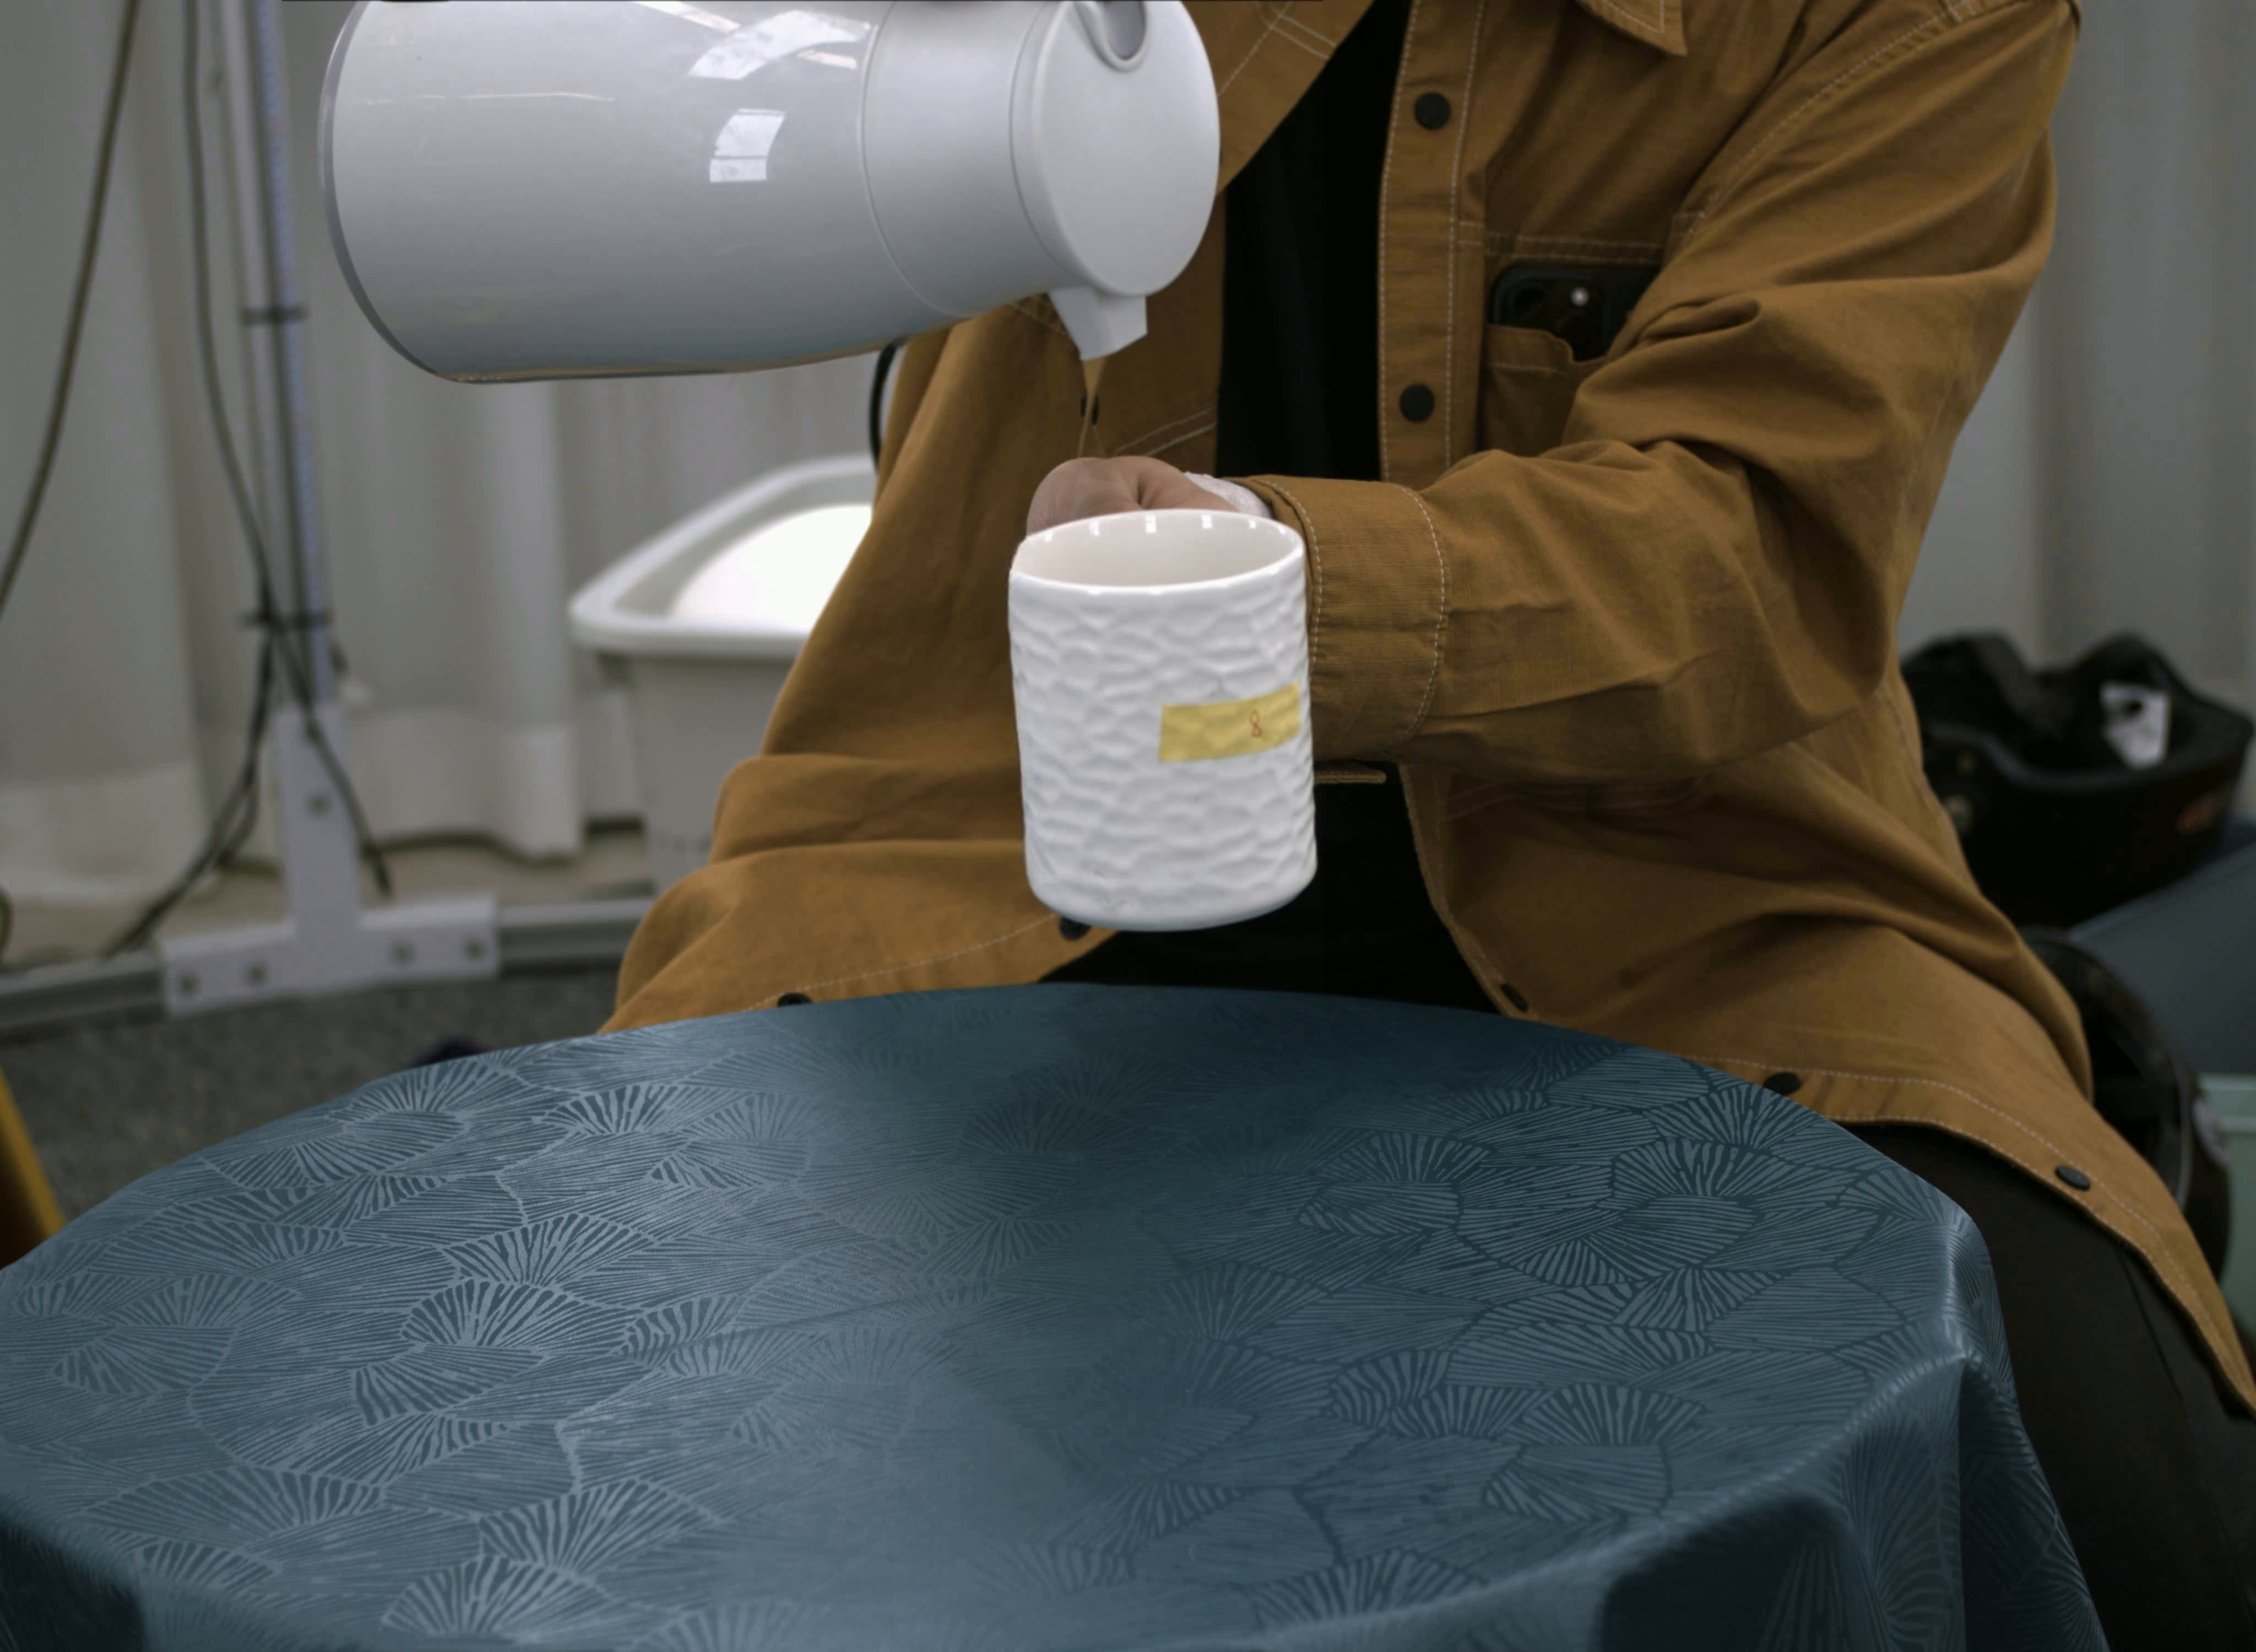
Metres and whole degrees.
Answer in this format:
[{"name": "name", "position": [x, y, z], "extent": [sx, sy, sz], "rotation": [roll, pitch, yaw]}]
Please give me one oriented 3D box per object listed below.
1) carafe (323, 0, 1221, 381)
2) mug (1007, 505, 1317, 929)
[{"name": "carafe", "position": [-0.100, -0.212, 1.568], "extent": [0.249, 0.166, 0.133], "rotation": [2, 24, 35]}, {"name": "mug", "position": [0.007, -0.036, 1.569], "extent": [0.084, 0.101, 0.119], "rotation": [-6, 17, -11]}]
